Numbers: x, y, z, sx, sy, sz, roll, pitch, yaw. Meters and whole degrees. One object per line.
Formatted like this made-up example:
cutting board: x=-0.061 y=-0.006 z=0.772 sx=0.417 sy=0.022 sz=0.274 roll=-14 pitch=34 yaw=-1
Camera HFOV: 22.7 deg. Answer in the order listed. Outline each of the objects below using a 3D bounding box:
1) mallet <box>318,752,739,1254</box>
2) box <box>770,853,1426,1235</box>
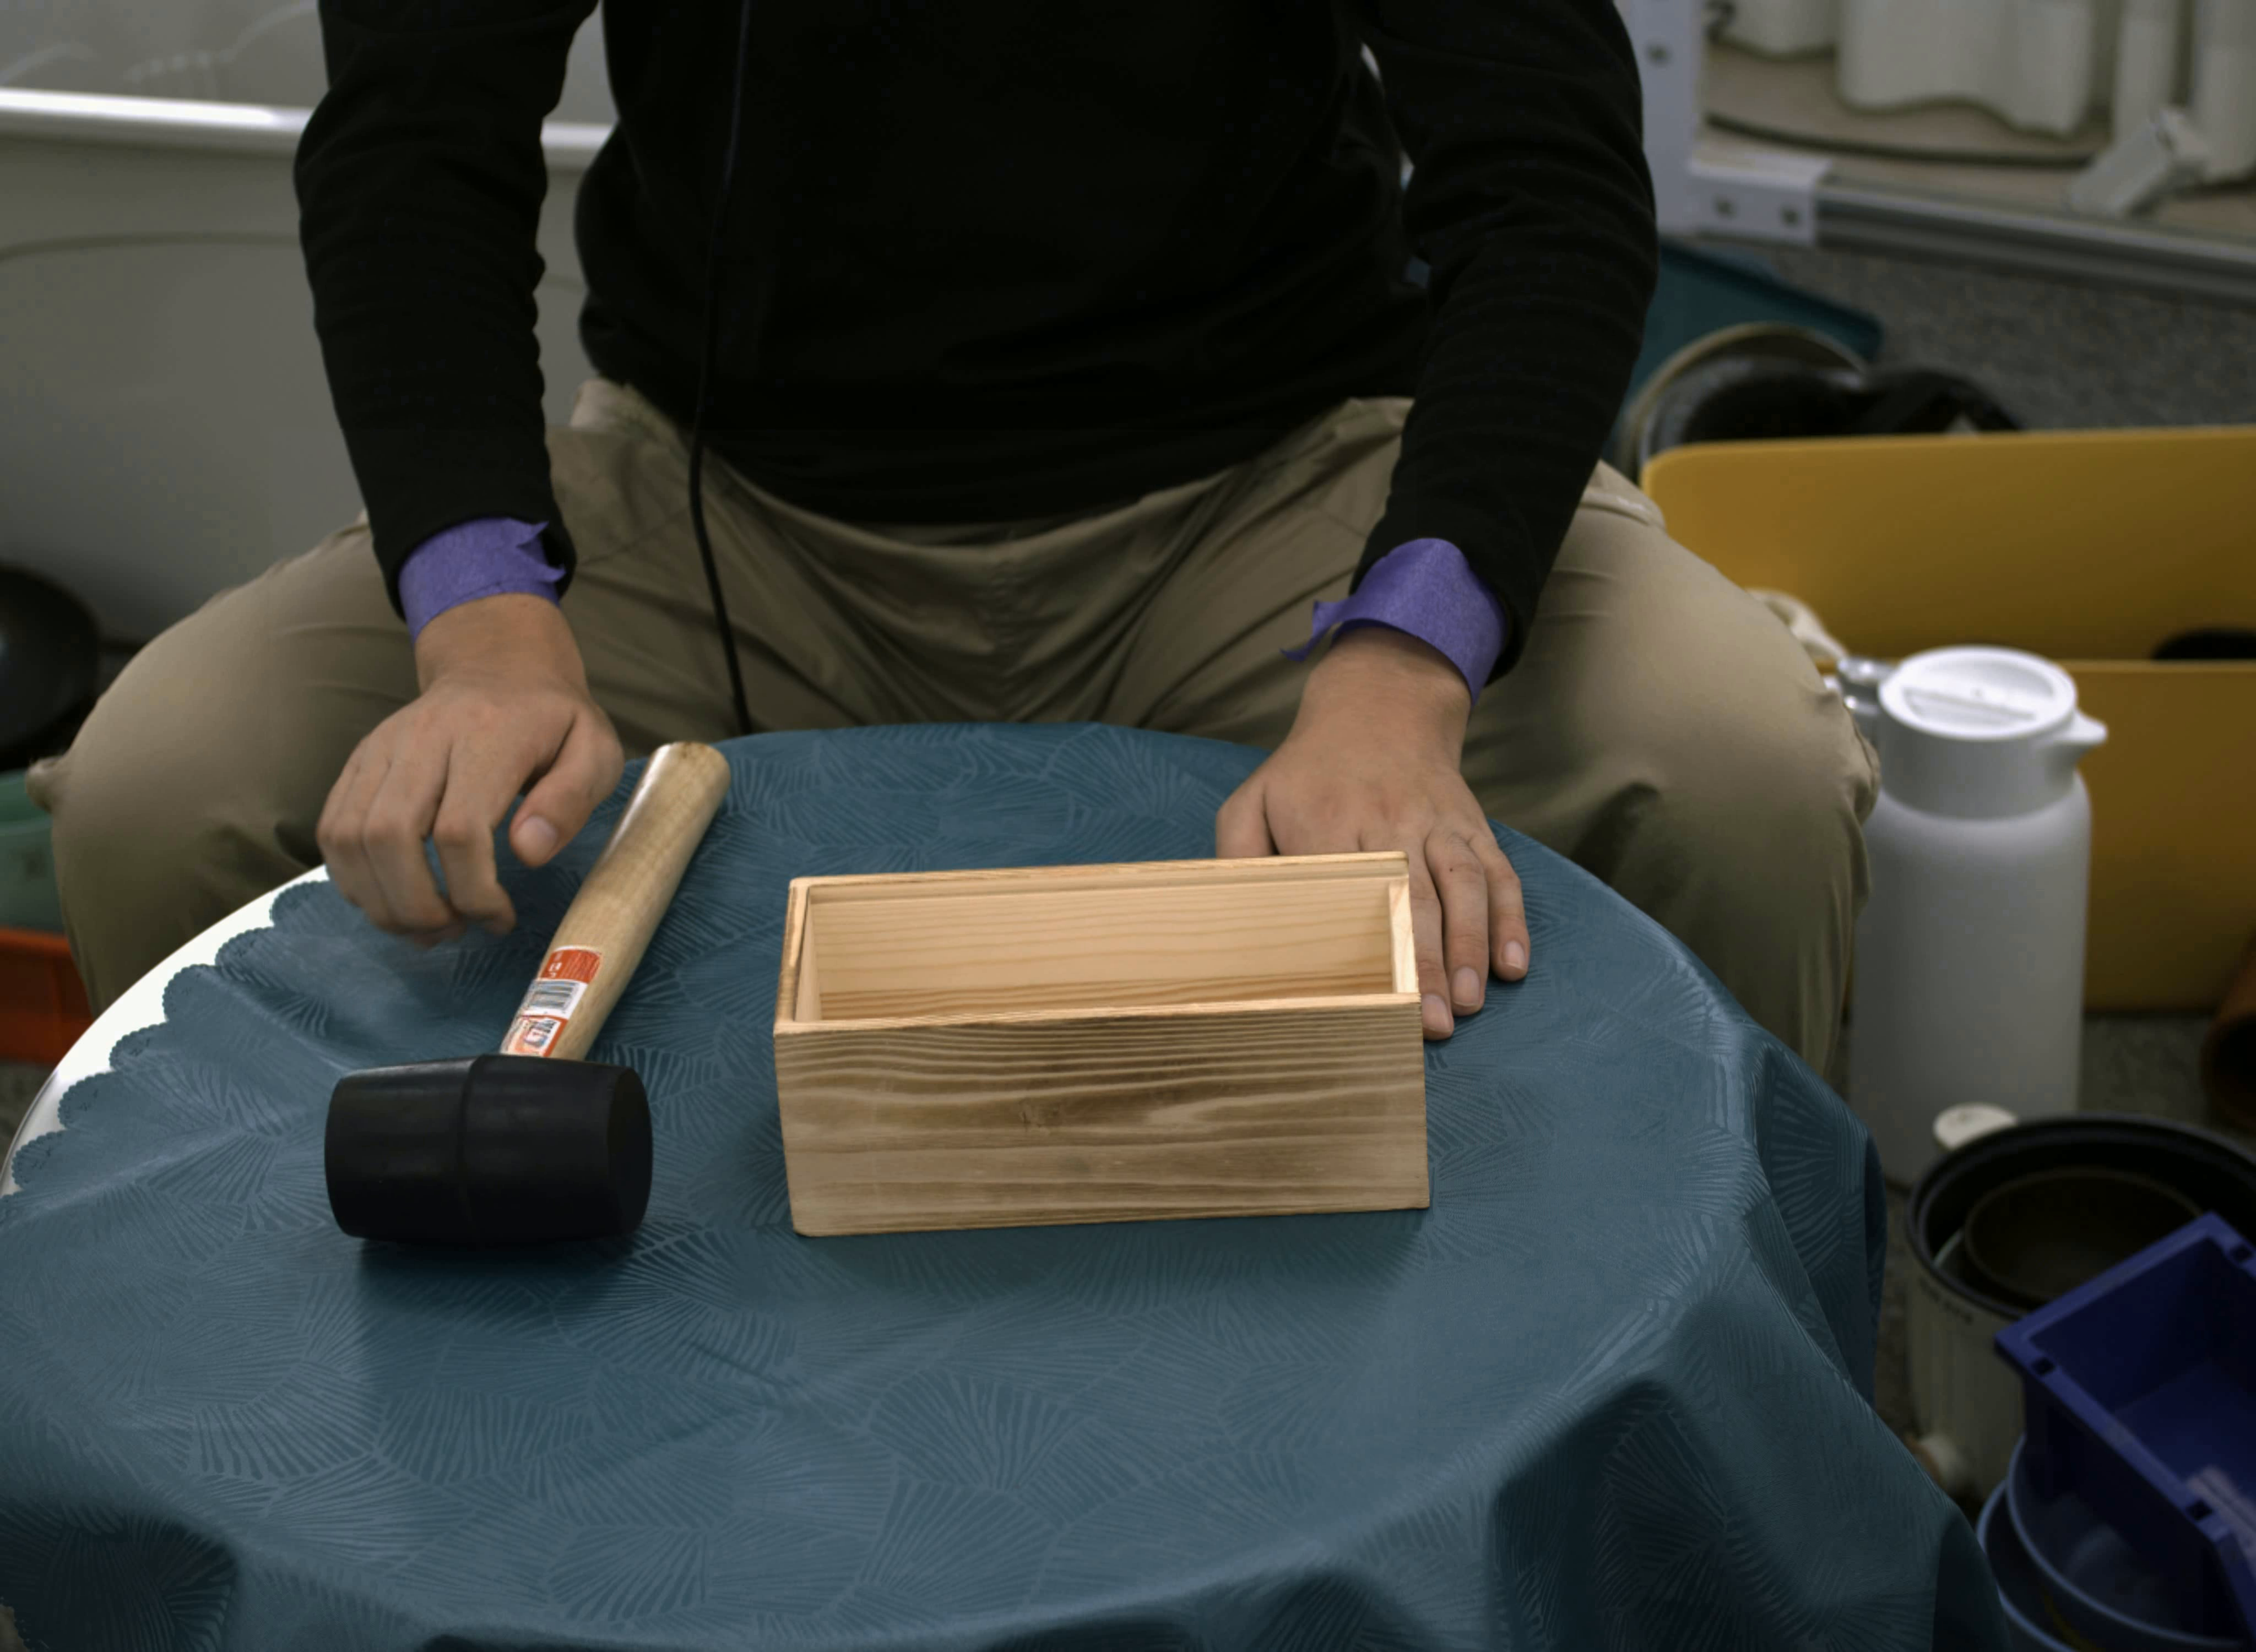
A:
mallet: x=-0.190 y=0.045 z=1.961 sx=0.101 sy=0.063 sz=0.344 roll=2 pitch=27 yaw=9
box: x=-0.009 y=0.072 z=1.870 sx=0.210 sy=0.079 sz=0.109 roll=-3 pitch=26 yaw=1
